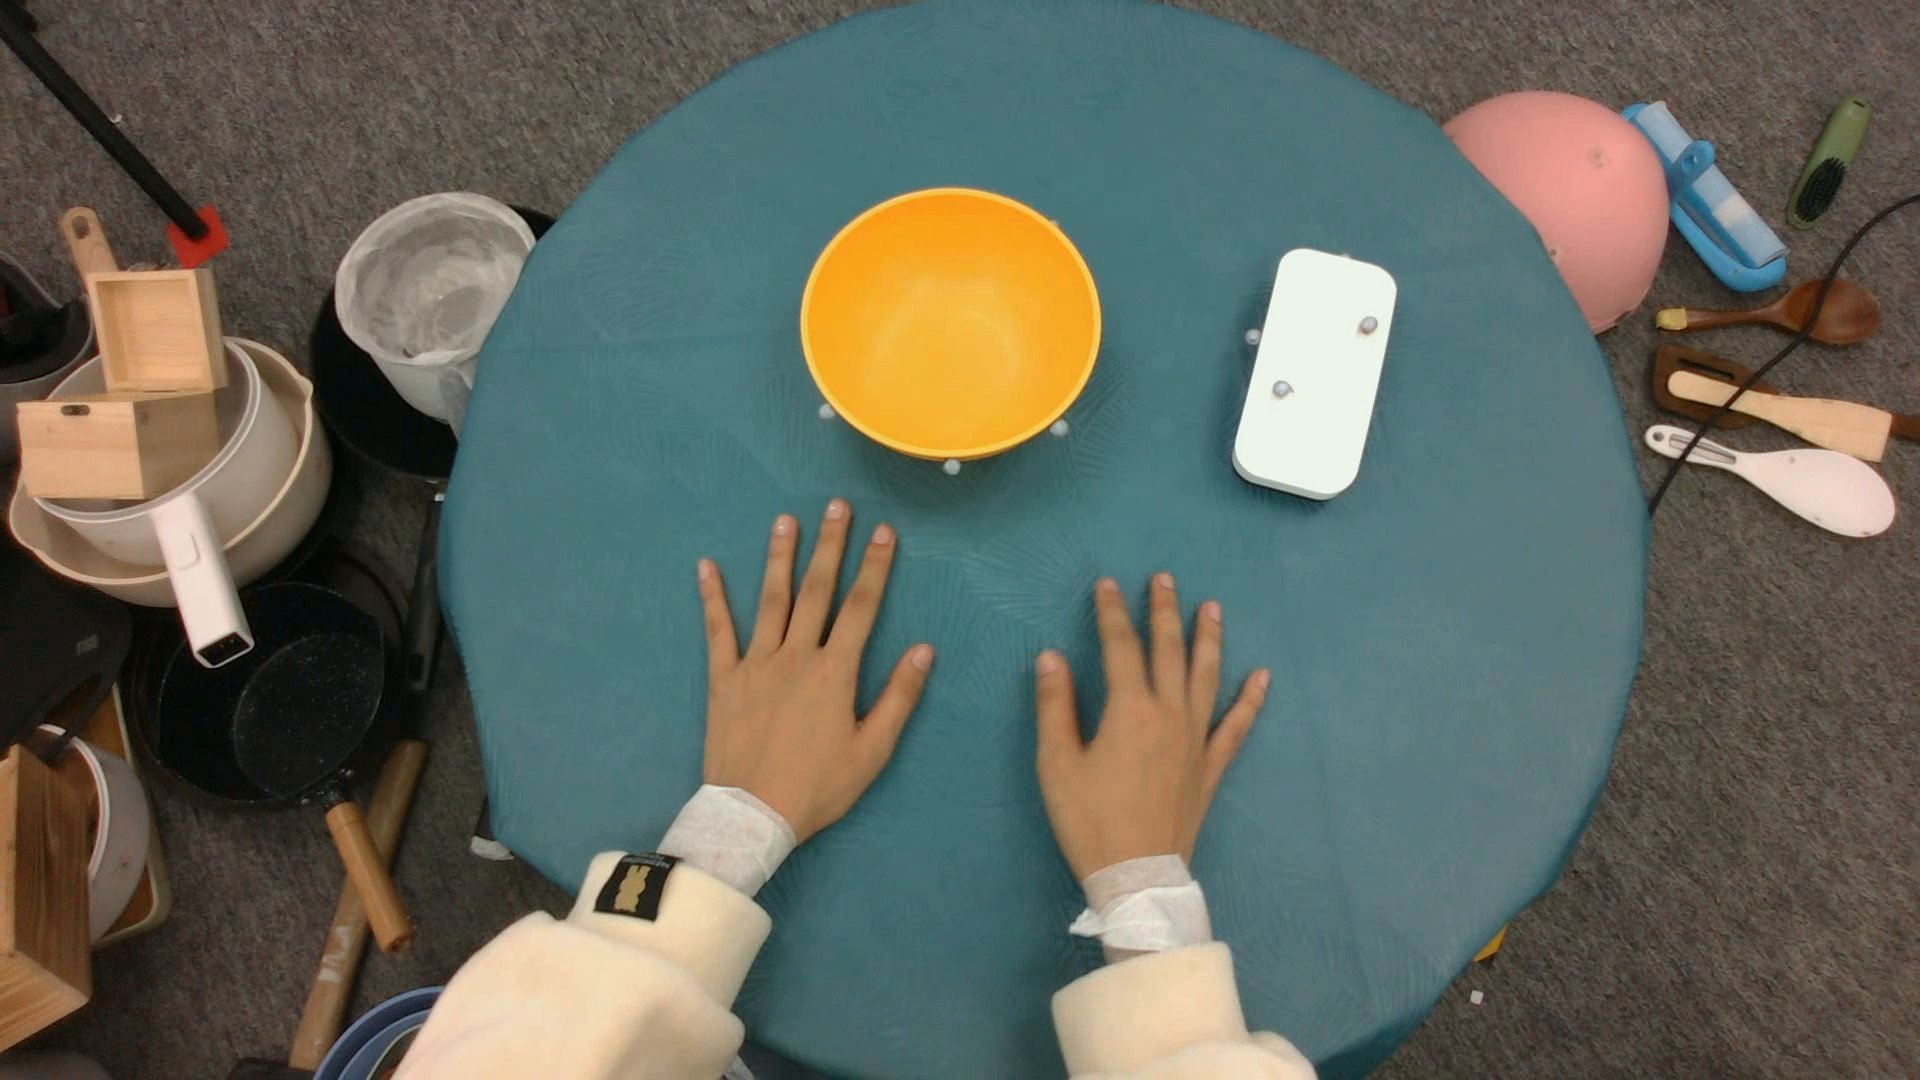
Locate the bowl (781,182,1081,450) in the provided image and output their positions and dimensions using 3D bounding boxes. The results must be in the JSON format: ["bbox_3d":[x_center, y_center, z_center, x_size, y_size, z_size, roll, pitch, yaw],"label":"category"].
[{"bbox_3d":[-0.015,-0.102,0.687,0.145,0.060,0.146,1,69,-3],"label":"bowl"}]

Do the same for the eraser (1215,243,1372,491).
[{"bbox_3d":[0.169,-0.090,0.703,0.063,0.034,0.132,15,71,4],"label":"eraser"}]
